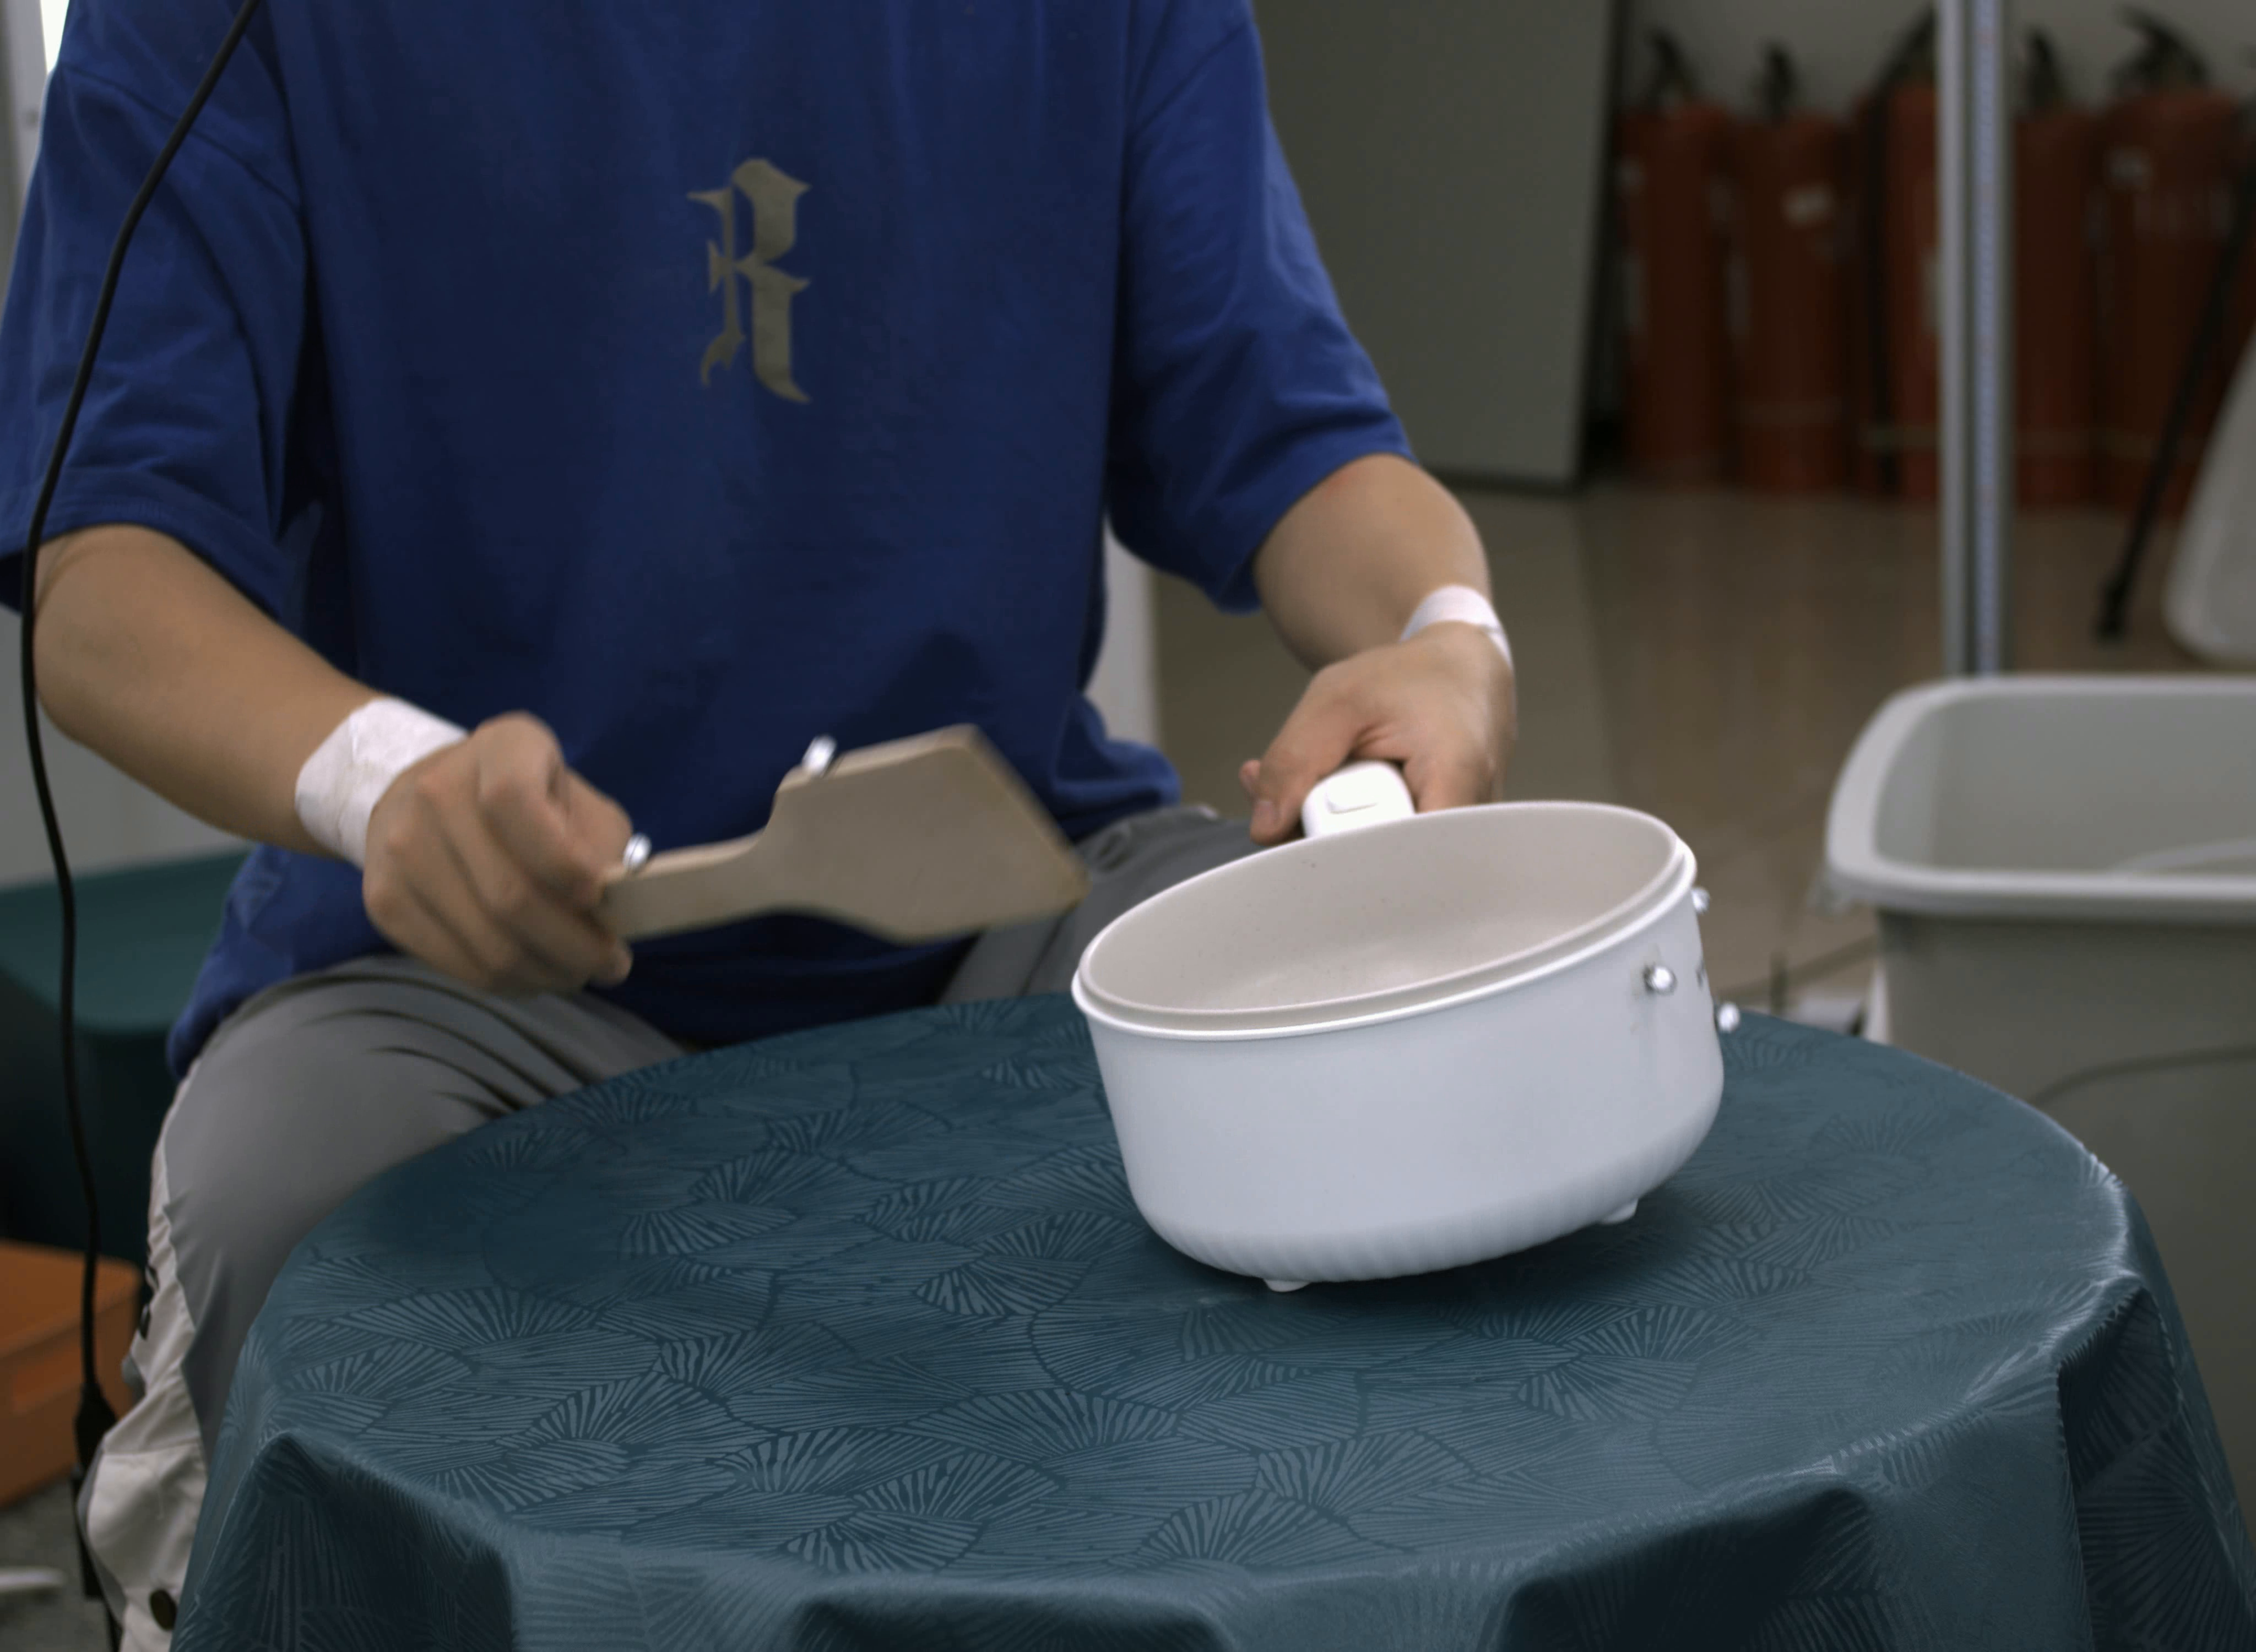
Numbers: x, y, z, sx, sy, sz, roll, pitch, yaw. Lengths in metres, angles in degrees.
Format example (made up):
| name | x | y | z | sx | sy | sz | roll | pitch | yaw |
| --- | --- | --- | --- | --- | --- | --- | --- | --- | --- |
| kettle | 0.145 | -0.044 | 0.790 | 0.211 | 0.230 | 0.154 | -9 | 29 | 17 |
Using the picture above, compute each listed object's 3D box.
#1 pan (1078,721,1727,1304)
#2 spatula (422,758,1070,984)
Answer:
| name | x | y | z | sx | sy | sz | roll | pitch | yaw |
| --- | --- | --- | --- | --- | --- | --- | --- | --- | --- |
| pan | 0.089 | 0.054 | 1.776 | 0.199 | 0.103 | 0.355 | -13 | 14 | 2 |
| spatula | -0.134 | 0.024 | 1.712 | 0.296 | 0.072 | 0.010 | -11 | 37 | 47 |
